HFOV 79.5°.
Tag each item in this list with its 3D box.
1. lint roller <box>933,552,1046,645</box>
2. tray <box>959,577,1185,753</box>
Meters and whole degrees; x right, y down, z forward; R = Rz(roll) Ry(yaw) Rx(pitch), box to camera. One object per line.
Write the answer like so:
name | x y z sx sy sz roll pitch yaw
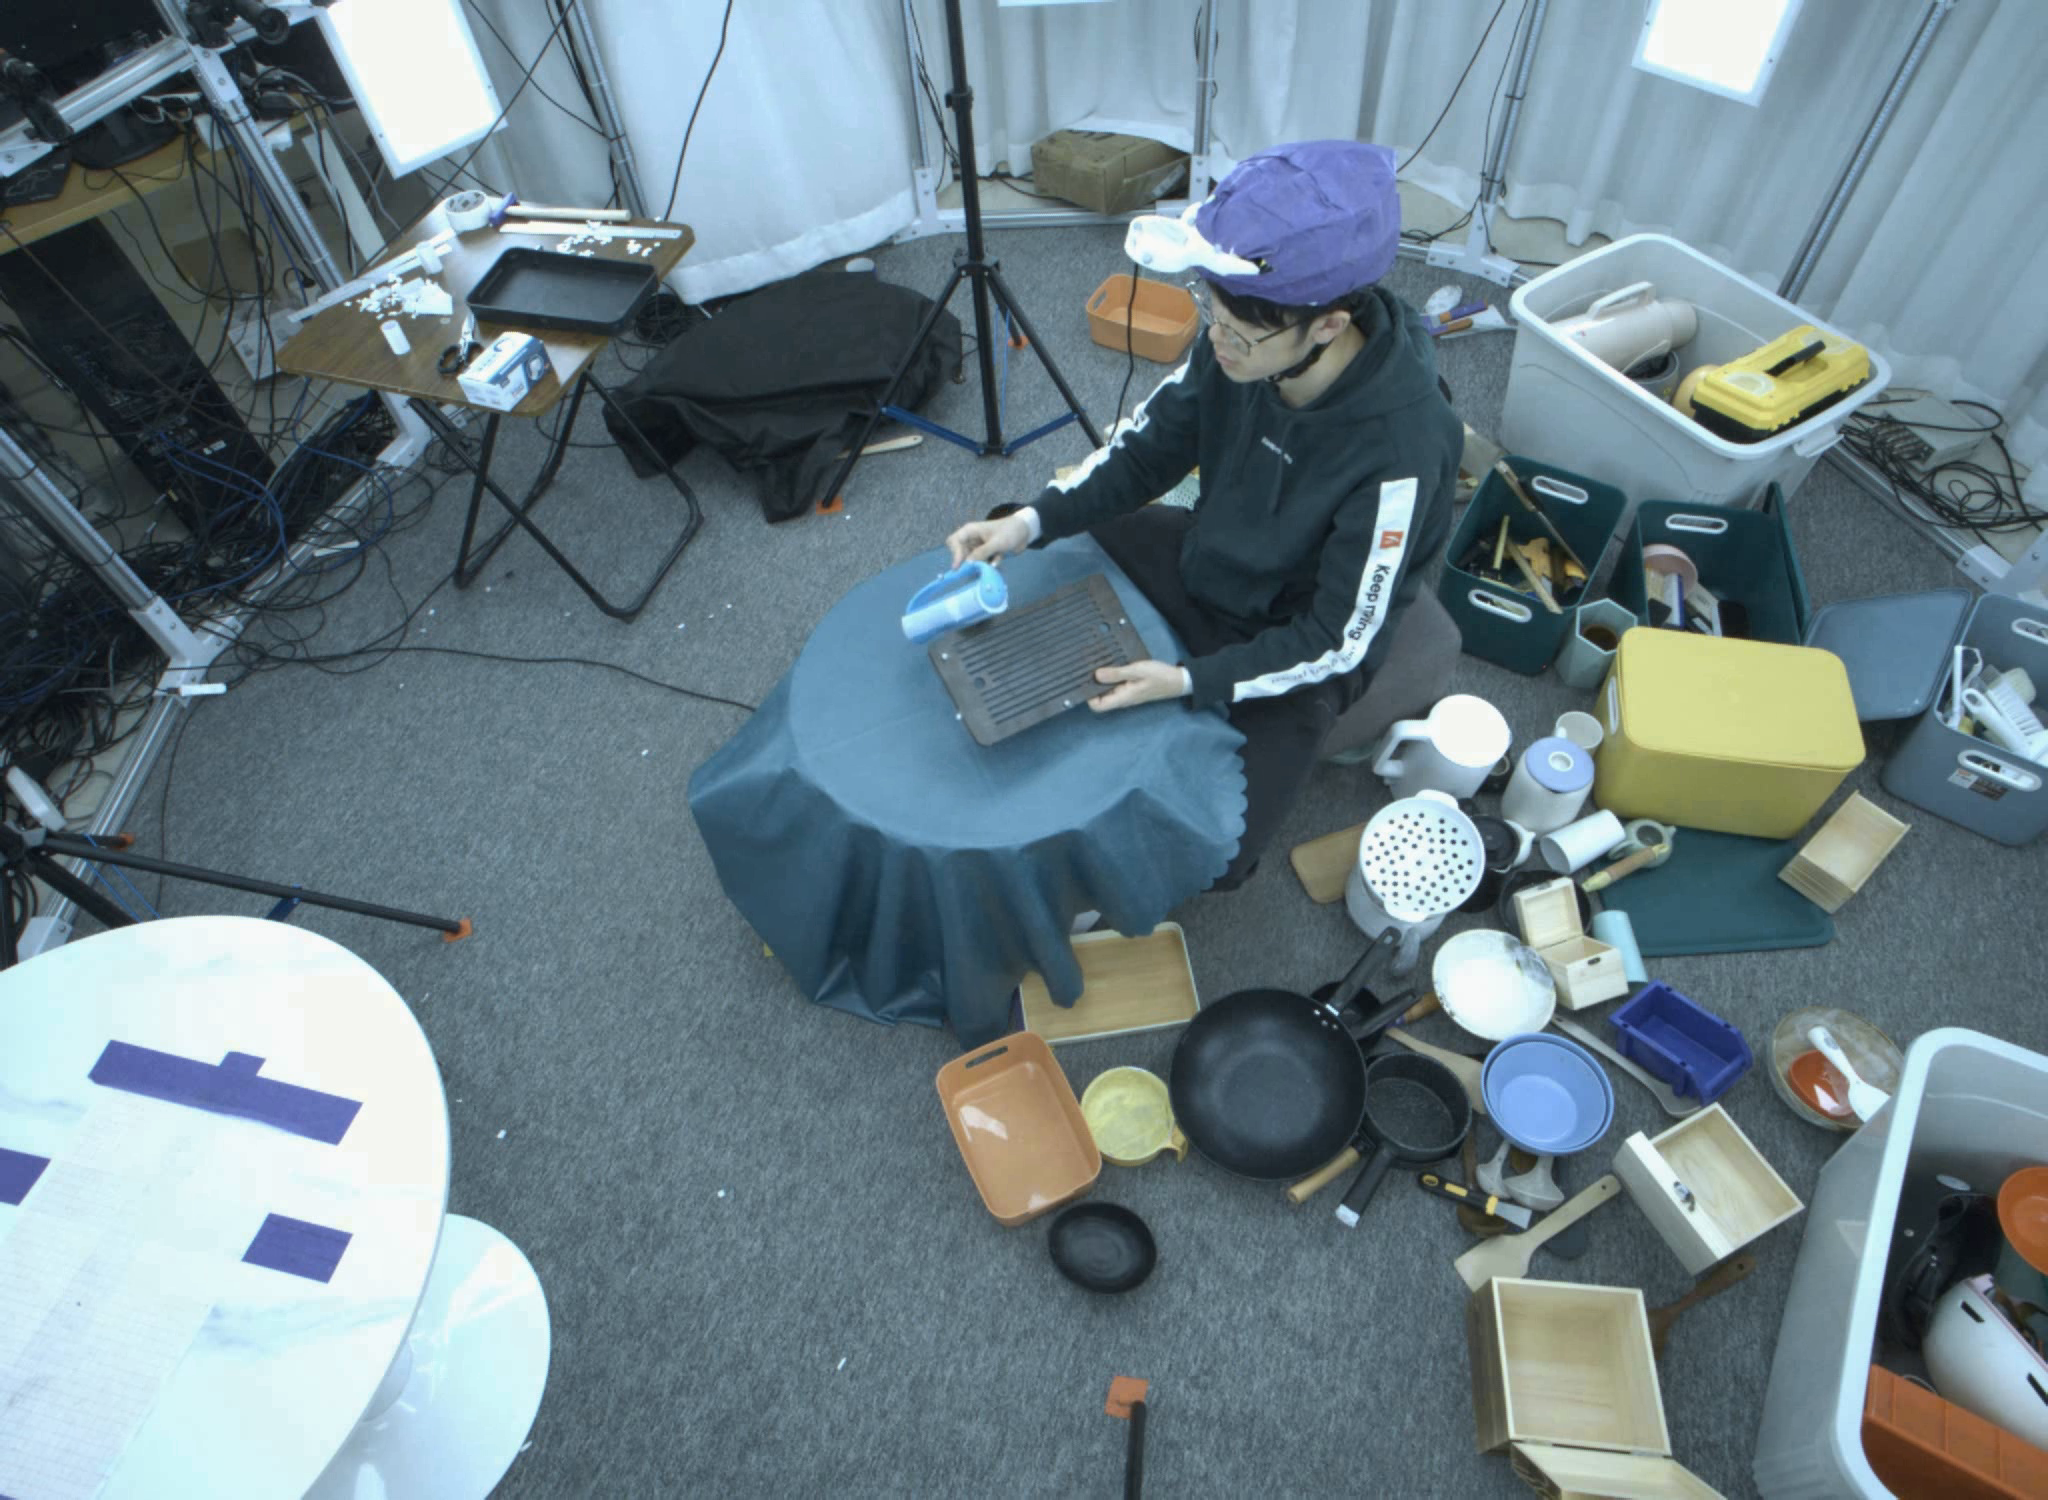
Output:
lint roller | -0.033 -0.243 1.798 0.069 0.225 0.180 44 56 -22
tray | 0.071 -0.125 1.765 0.309 0.018 0.169 -24 84 -22
